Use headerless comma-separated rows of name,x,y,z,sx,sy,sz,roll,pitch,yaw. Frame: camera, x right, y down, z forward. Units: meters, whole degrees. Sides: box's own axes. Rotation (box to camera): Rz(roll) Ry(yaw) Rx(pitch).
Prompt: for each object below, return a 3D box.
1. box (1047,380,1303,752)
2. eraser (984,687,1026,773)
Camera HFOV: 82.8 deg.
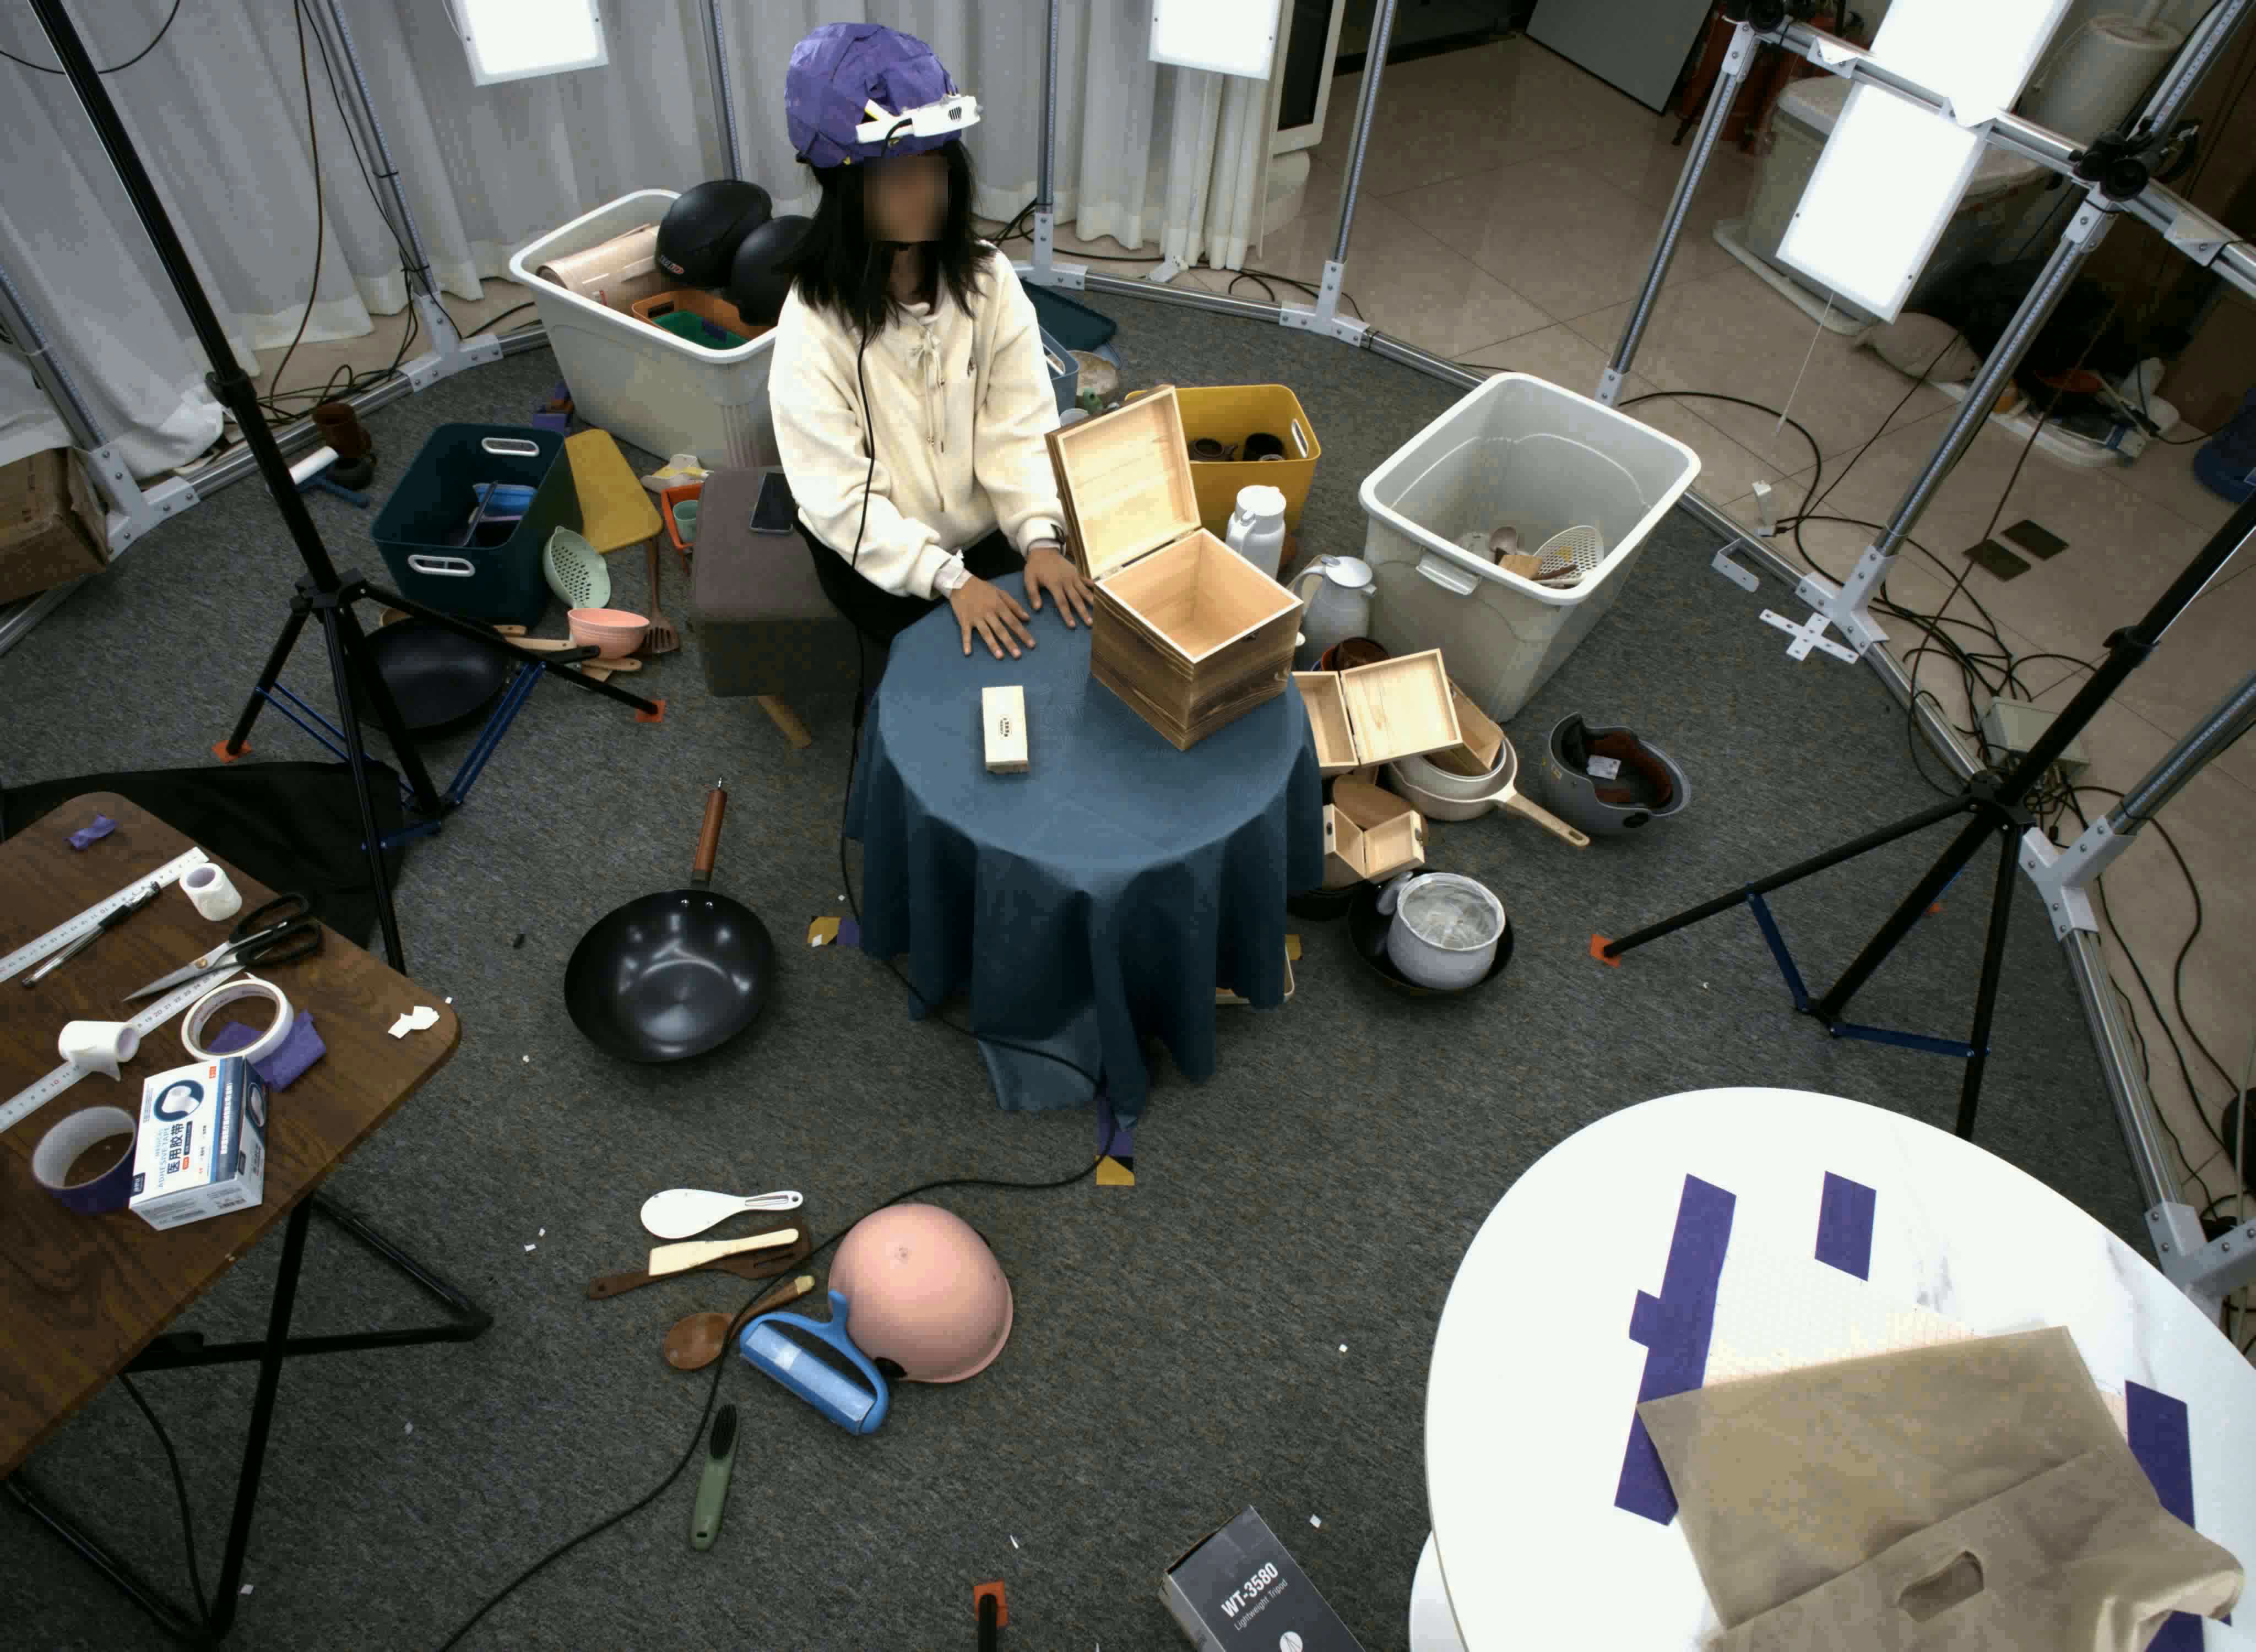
box,0.061,-0.353,1.746,0.210,0.366,0.327,-32,59,-26
eraser,-0.168,-0.132,1.755,0.057,0.028,0.143,-3,49,-4
